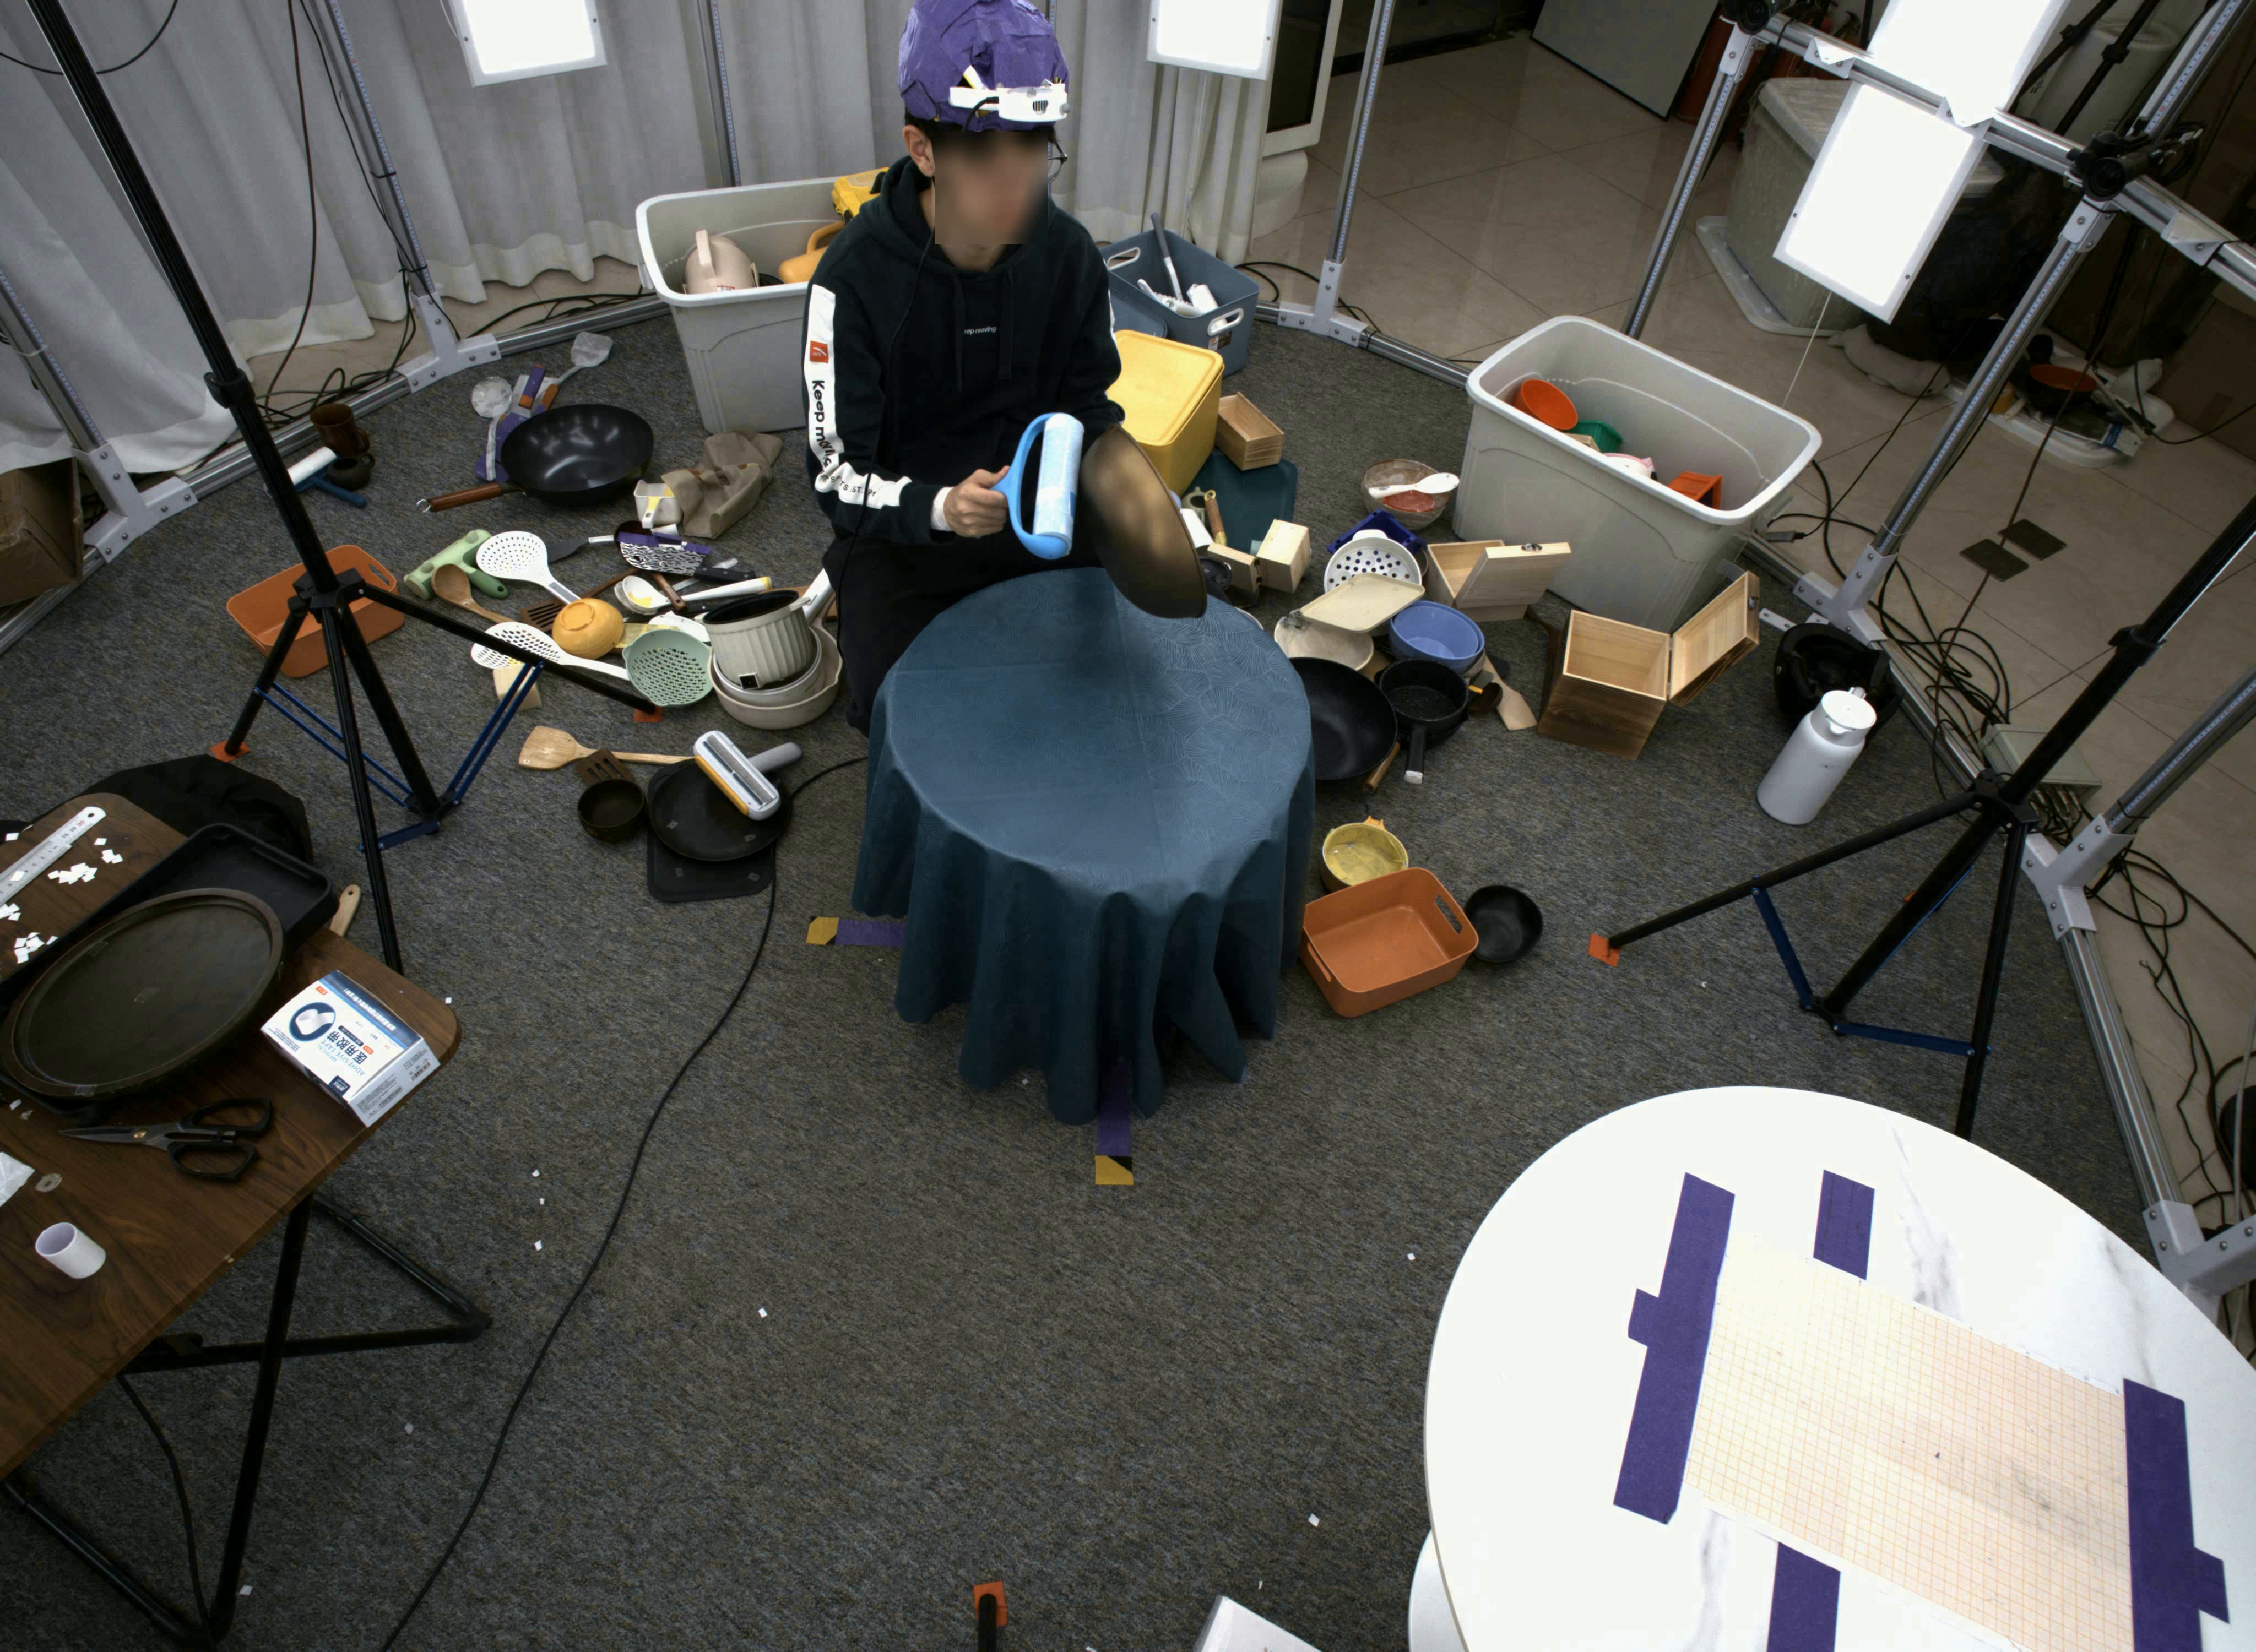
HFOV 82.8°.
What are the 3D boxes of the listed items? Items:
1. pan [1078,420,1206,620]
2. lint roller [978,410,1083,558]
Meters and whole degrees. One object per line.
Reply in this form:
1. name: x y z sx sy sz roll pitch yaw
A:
1. pan: -0.025 -0.425 1.808 0.087 0.283 0.471 -27 27 -7
2. lint roller: -0.142 -0.442 1.732 0.180 0.066 0.233 -14 61 26
